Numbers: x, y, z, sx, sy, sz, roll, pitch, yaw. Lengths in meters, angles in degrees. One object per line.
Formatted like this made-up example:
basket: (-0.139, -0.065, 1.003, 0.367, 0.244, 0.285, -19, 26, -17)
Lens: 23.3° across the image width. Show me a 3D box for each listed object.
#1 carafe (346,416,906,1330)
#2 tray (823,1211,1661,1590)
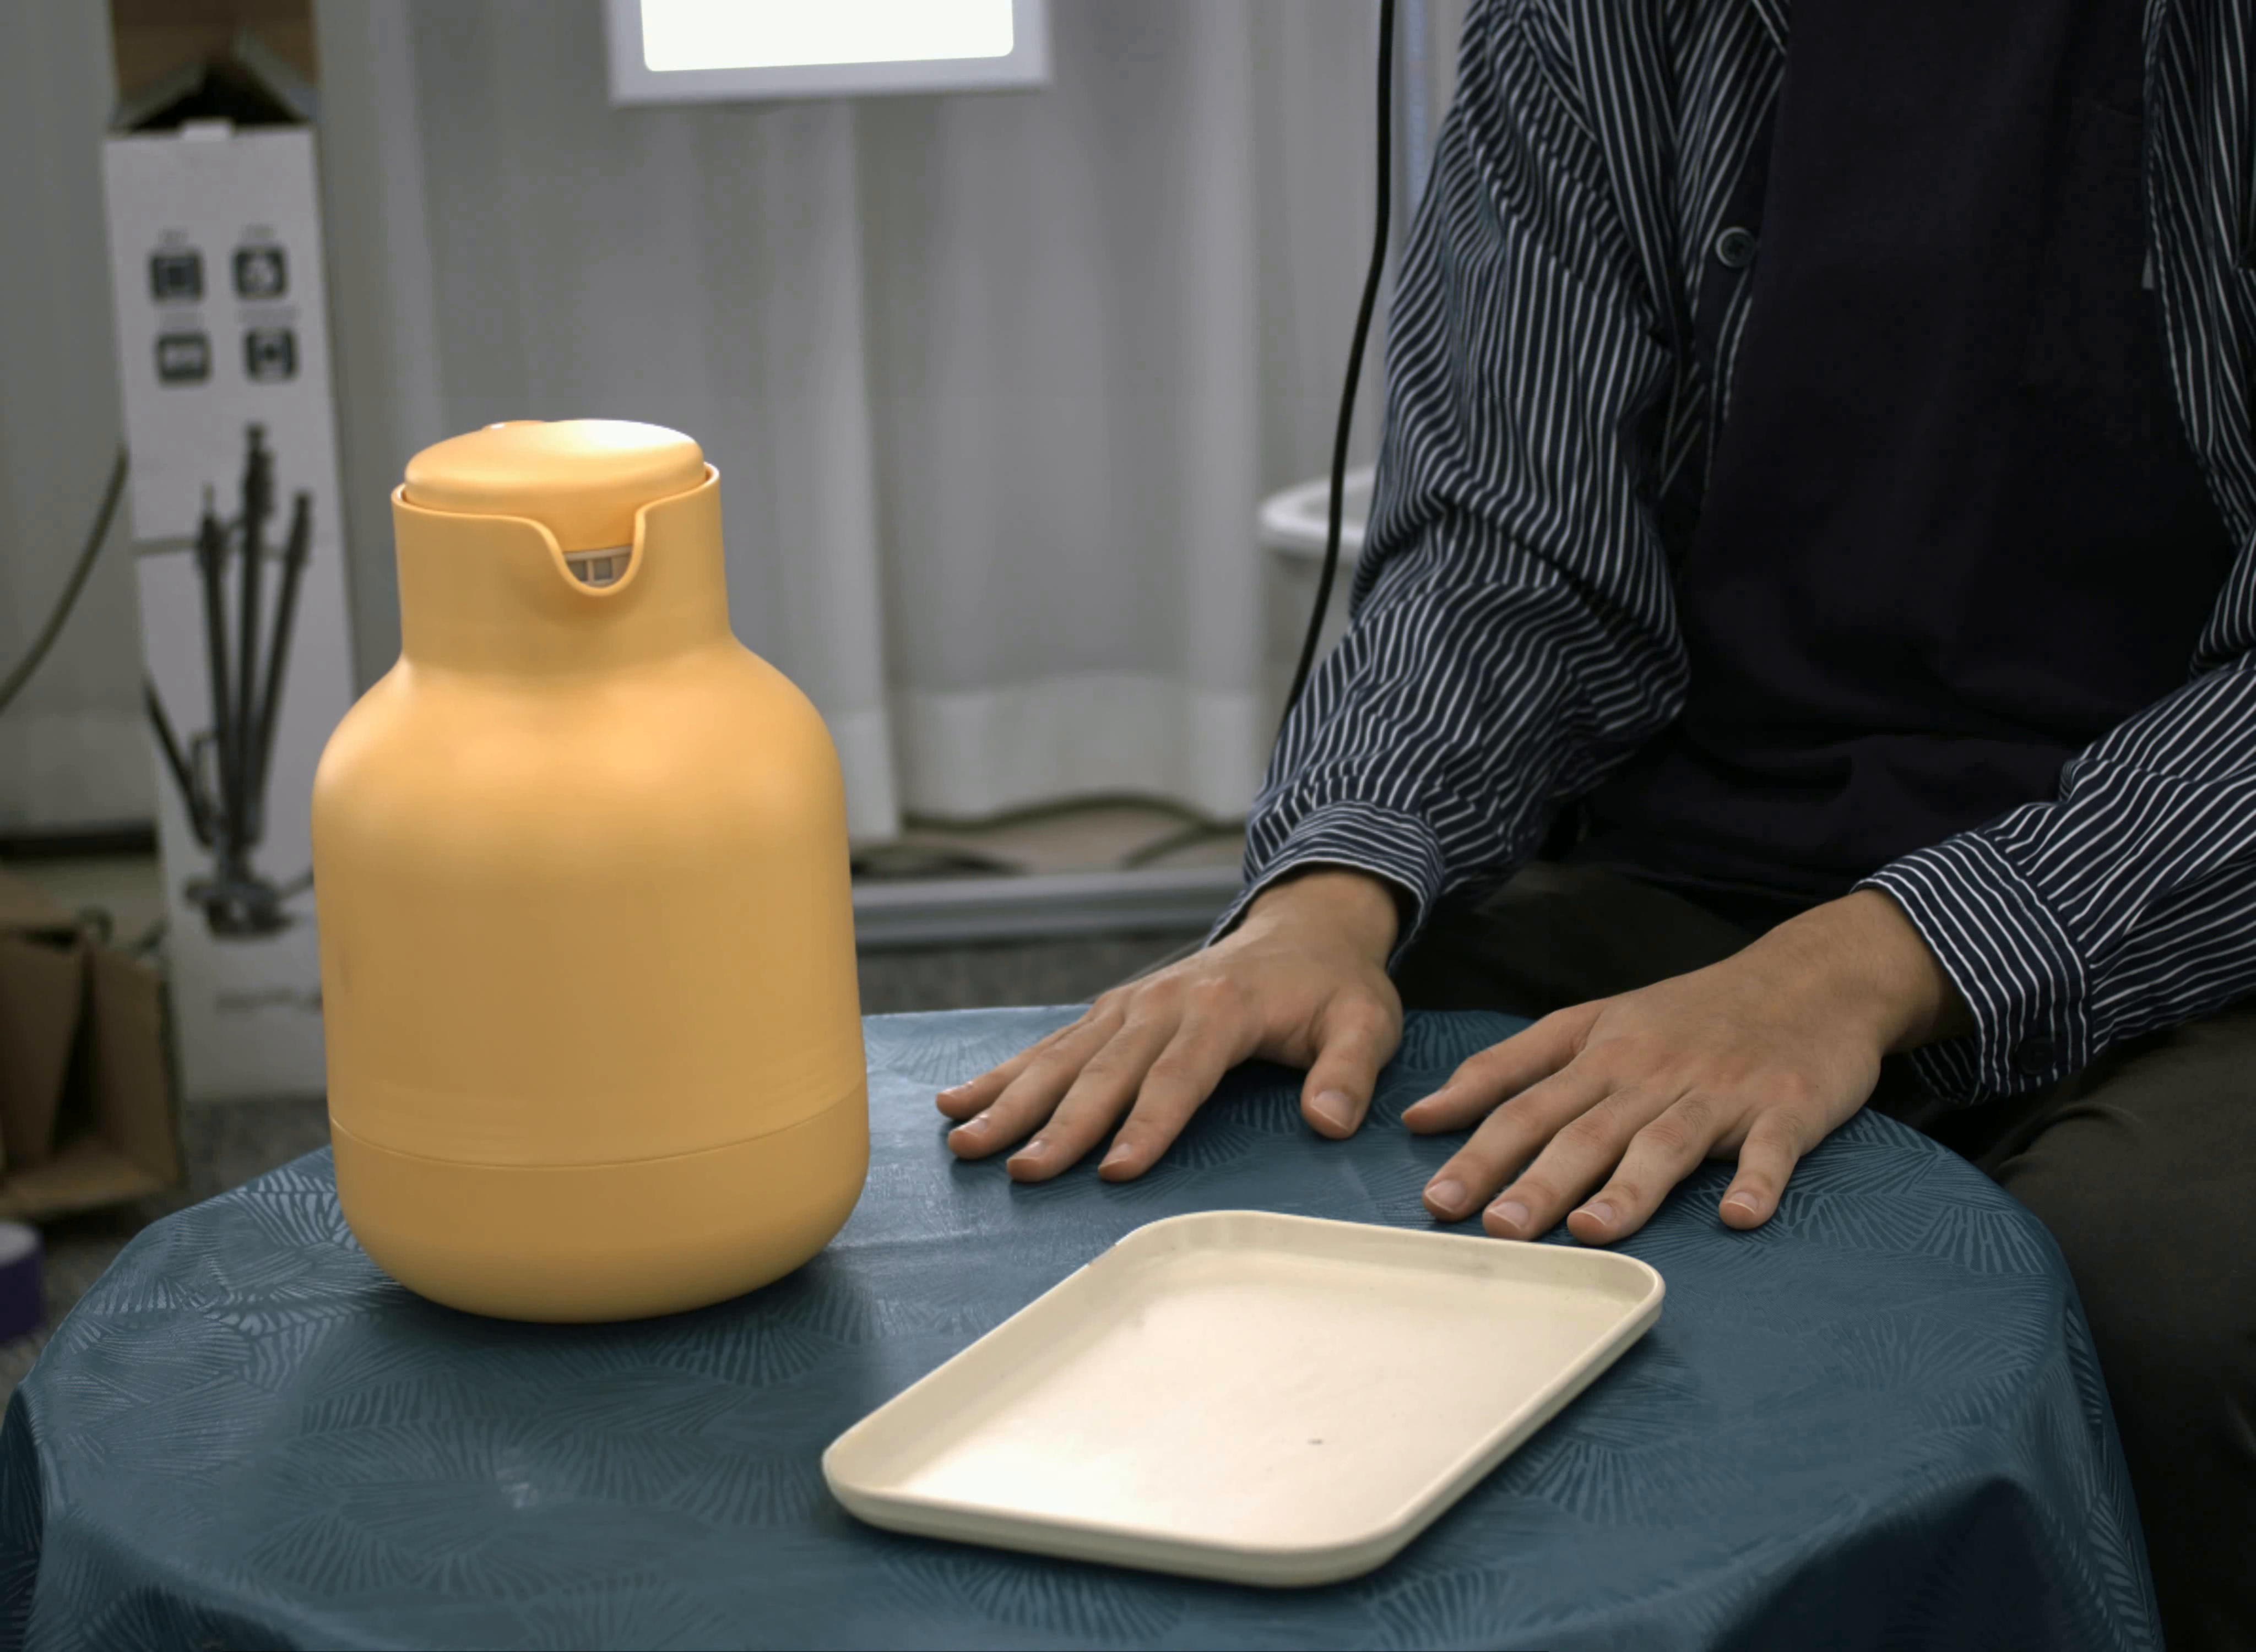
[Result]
carafe: (-0.157, 0.005, 1.655, 0.162, 0.259, 0.204, -6, 15, -17)
tray: (0.036, 0.157, 1.515, 0.171, 0.017, 0.240, 5, 16, 26)
